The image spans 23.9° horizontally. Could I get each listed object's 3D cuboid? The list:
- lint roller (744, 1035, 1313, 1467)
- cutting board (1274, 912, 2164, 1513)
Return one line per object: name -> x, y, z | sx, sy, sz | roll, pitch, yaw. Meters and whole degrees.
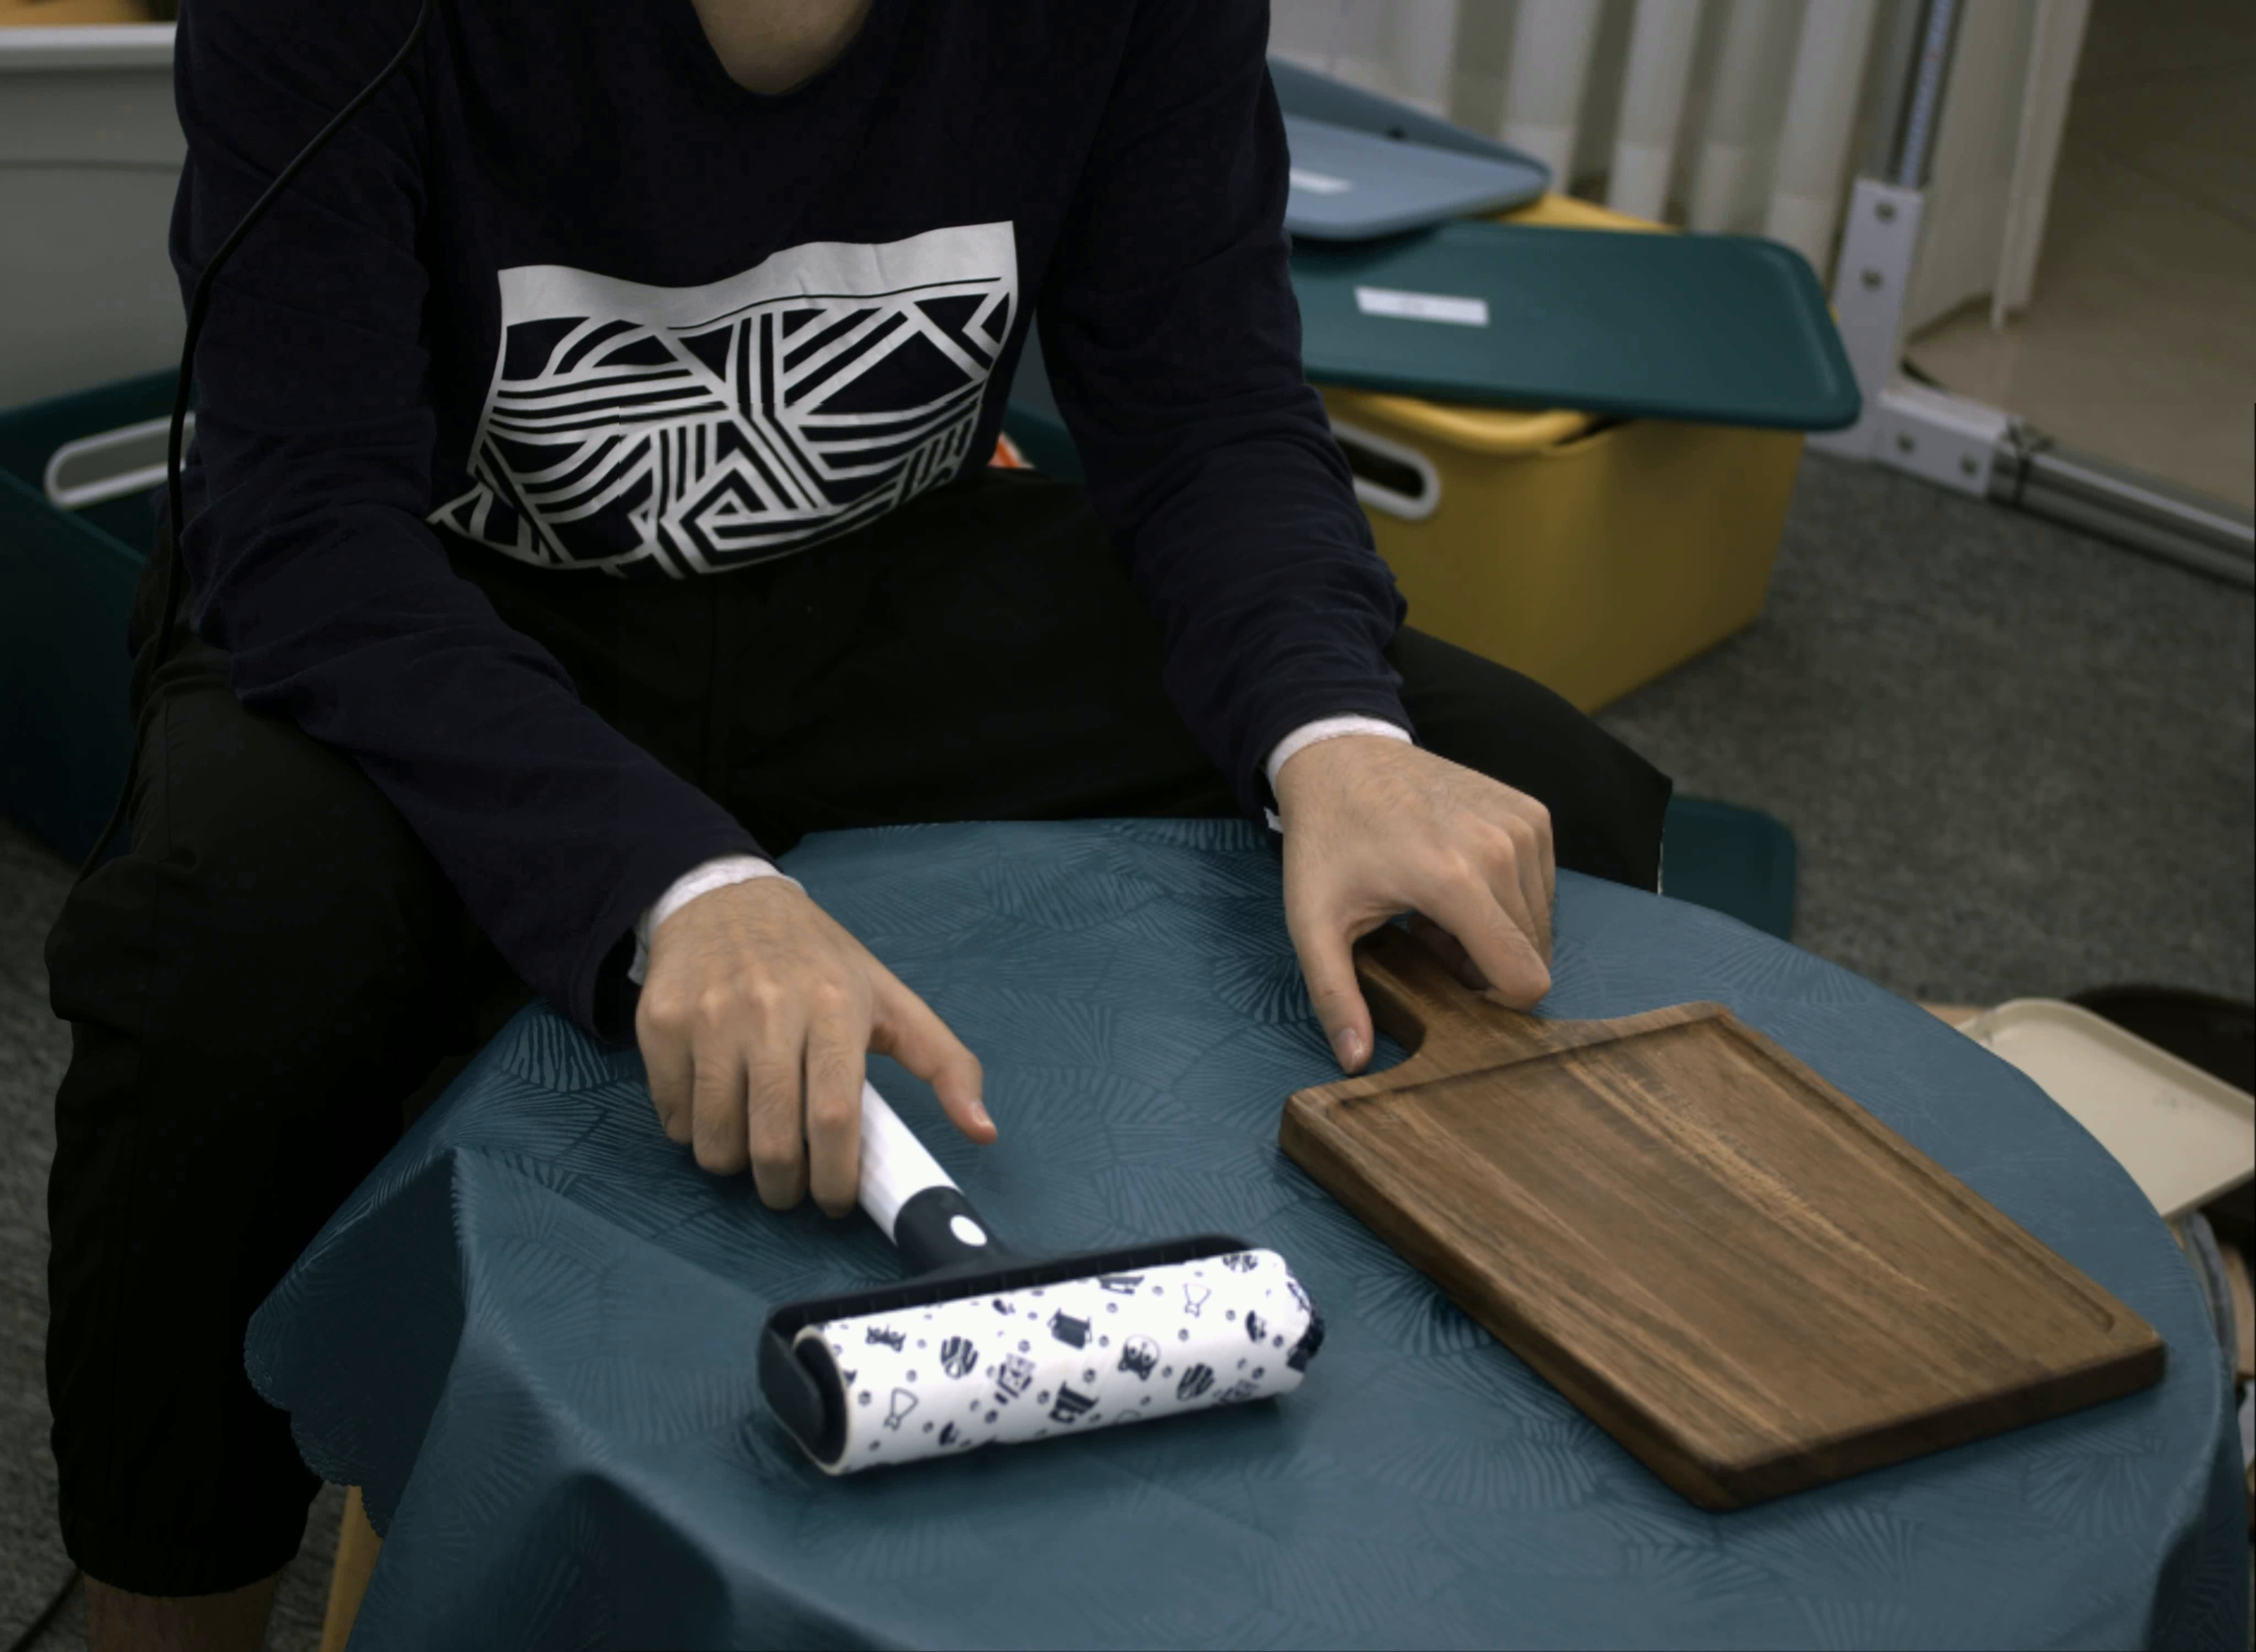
lint roller -> -0.071, 0.123, 1.744 | 0.175, 0.050, 0.249 | -9, 28, -26
cutting board -> 0.170, 0.117, 1.834 | 0.200, 0.023, 0.355 | -11, 32, -32
